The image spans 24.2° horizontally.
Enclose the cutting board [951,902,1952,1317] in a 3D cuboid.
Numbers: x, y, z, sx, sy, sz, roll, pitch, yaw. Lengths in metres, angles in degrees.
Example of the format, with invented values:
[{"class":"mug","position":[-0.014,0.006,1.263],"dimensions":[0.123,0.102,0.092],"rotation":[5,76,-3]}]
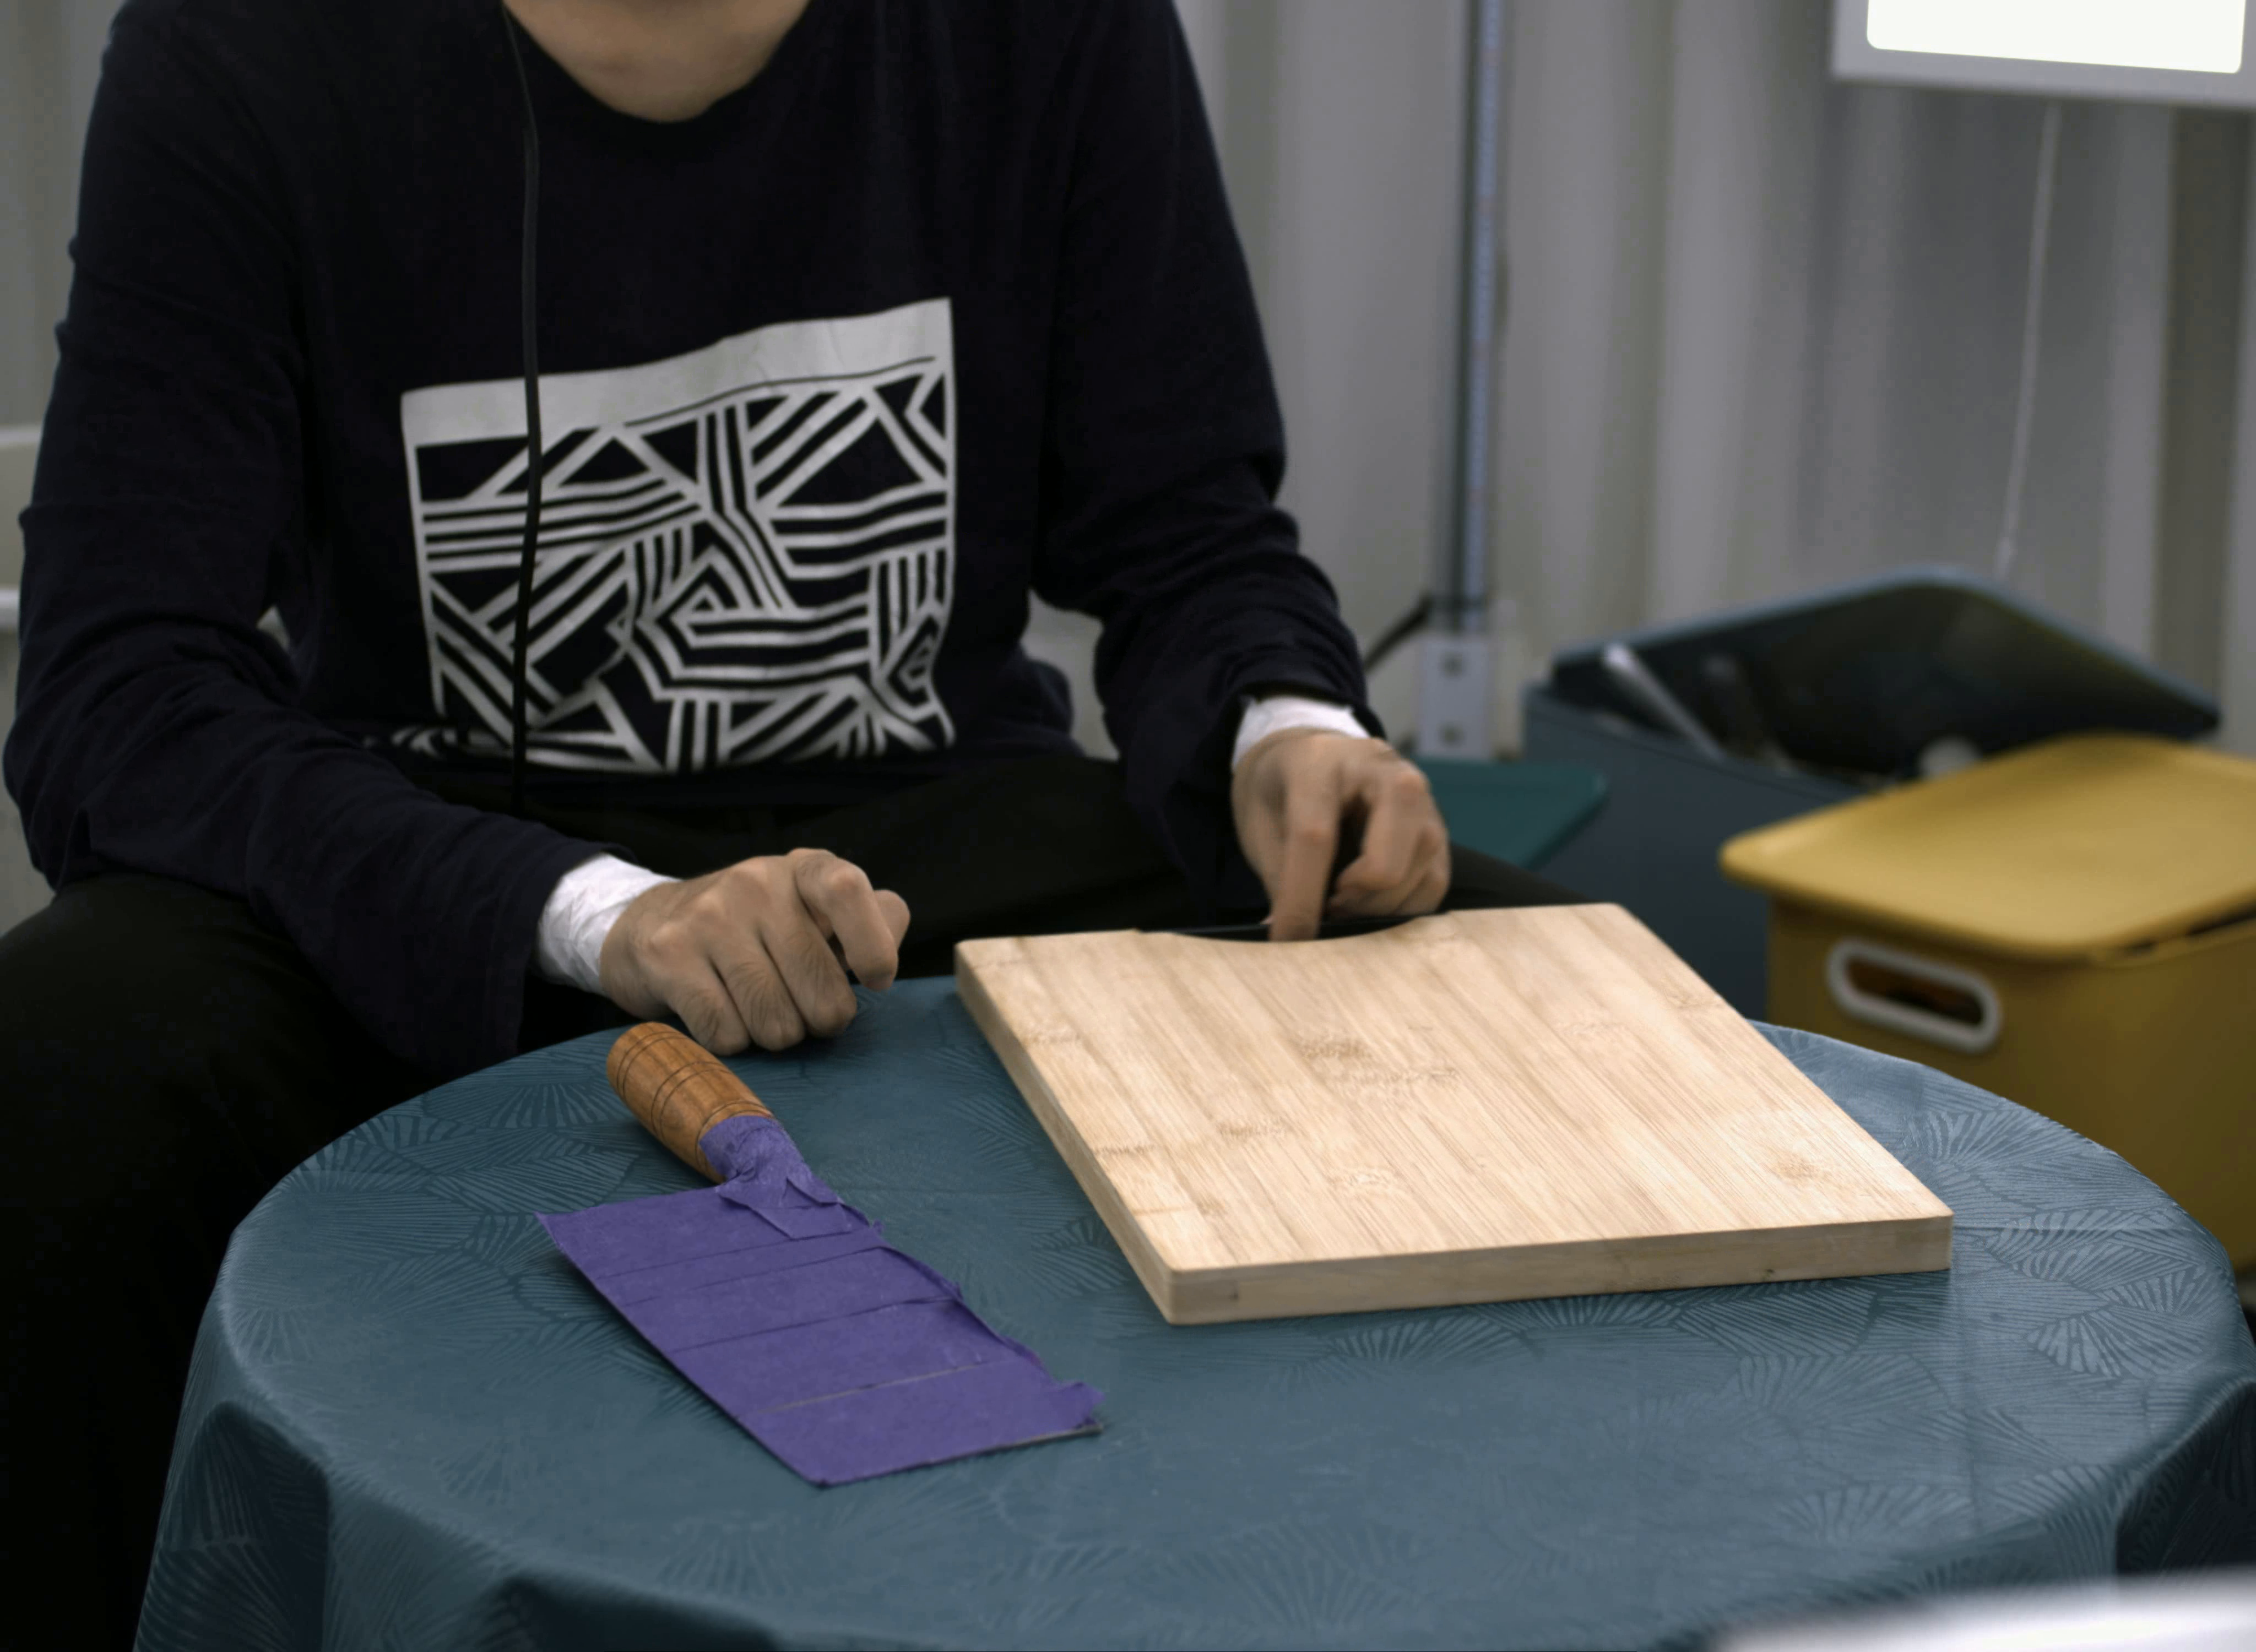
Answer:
[{"class":"cutting board","position":[0.091,0.086,1.696],"dimensions":[0.251,0.024,0.345],"rotation":[-3,16,-13]}]

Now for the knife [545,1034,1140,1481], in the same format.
[{"class":"knife","position":[-0.112,0.122,1.537],"dimensions":[0.104,0.032,0.311],"rotation":[-7,18,-27]}]
